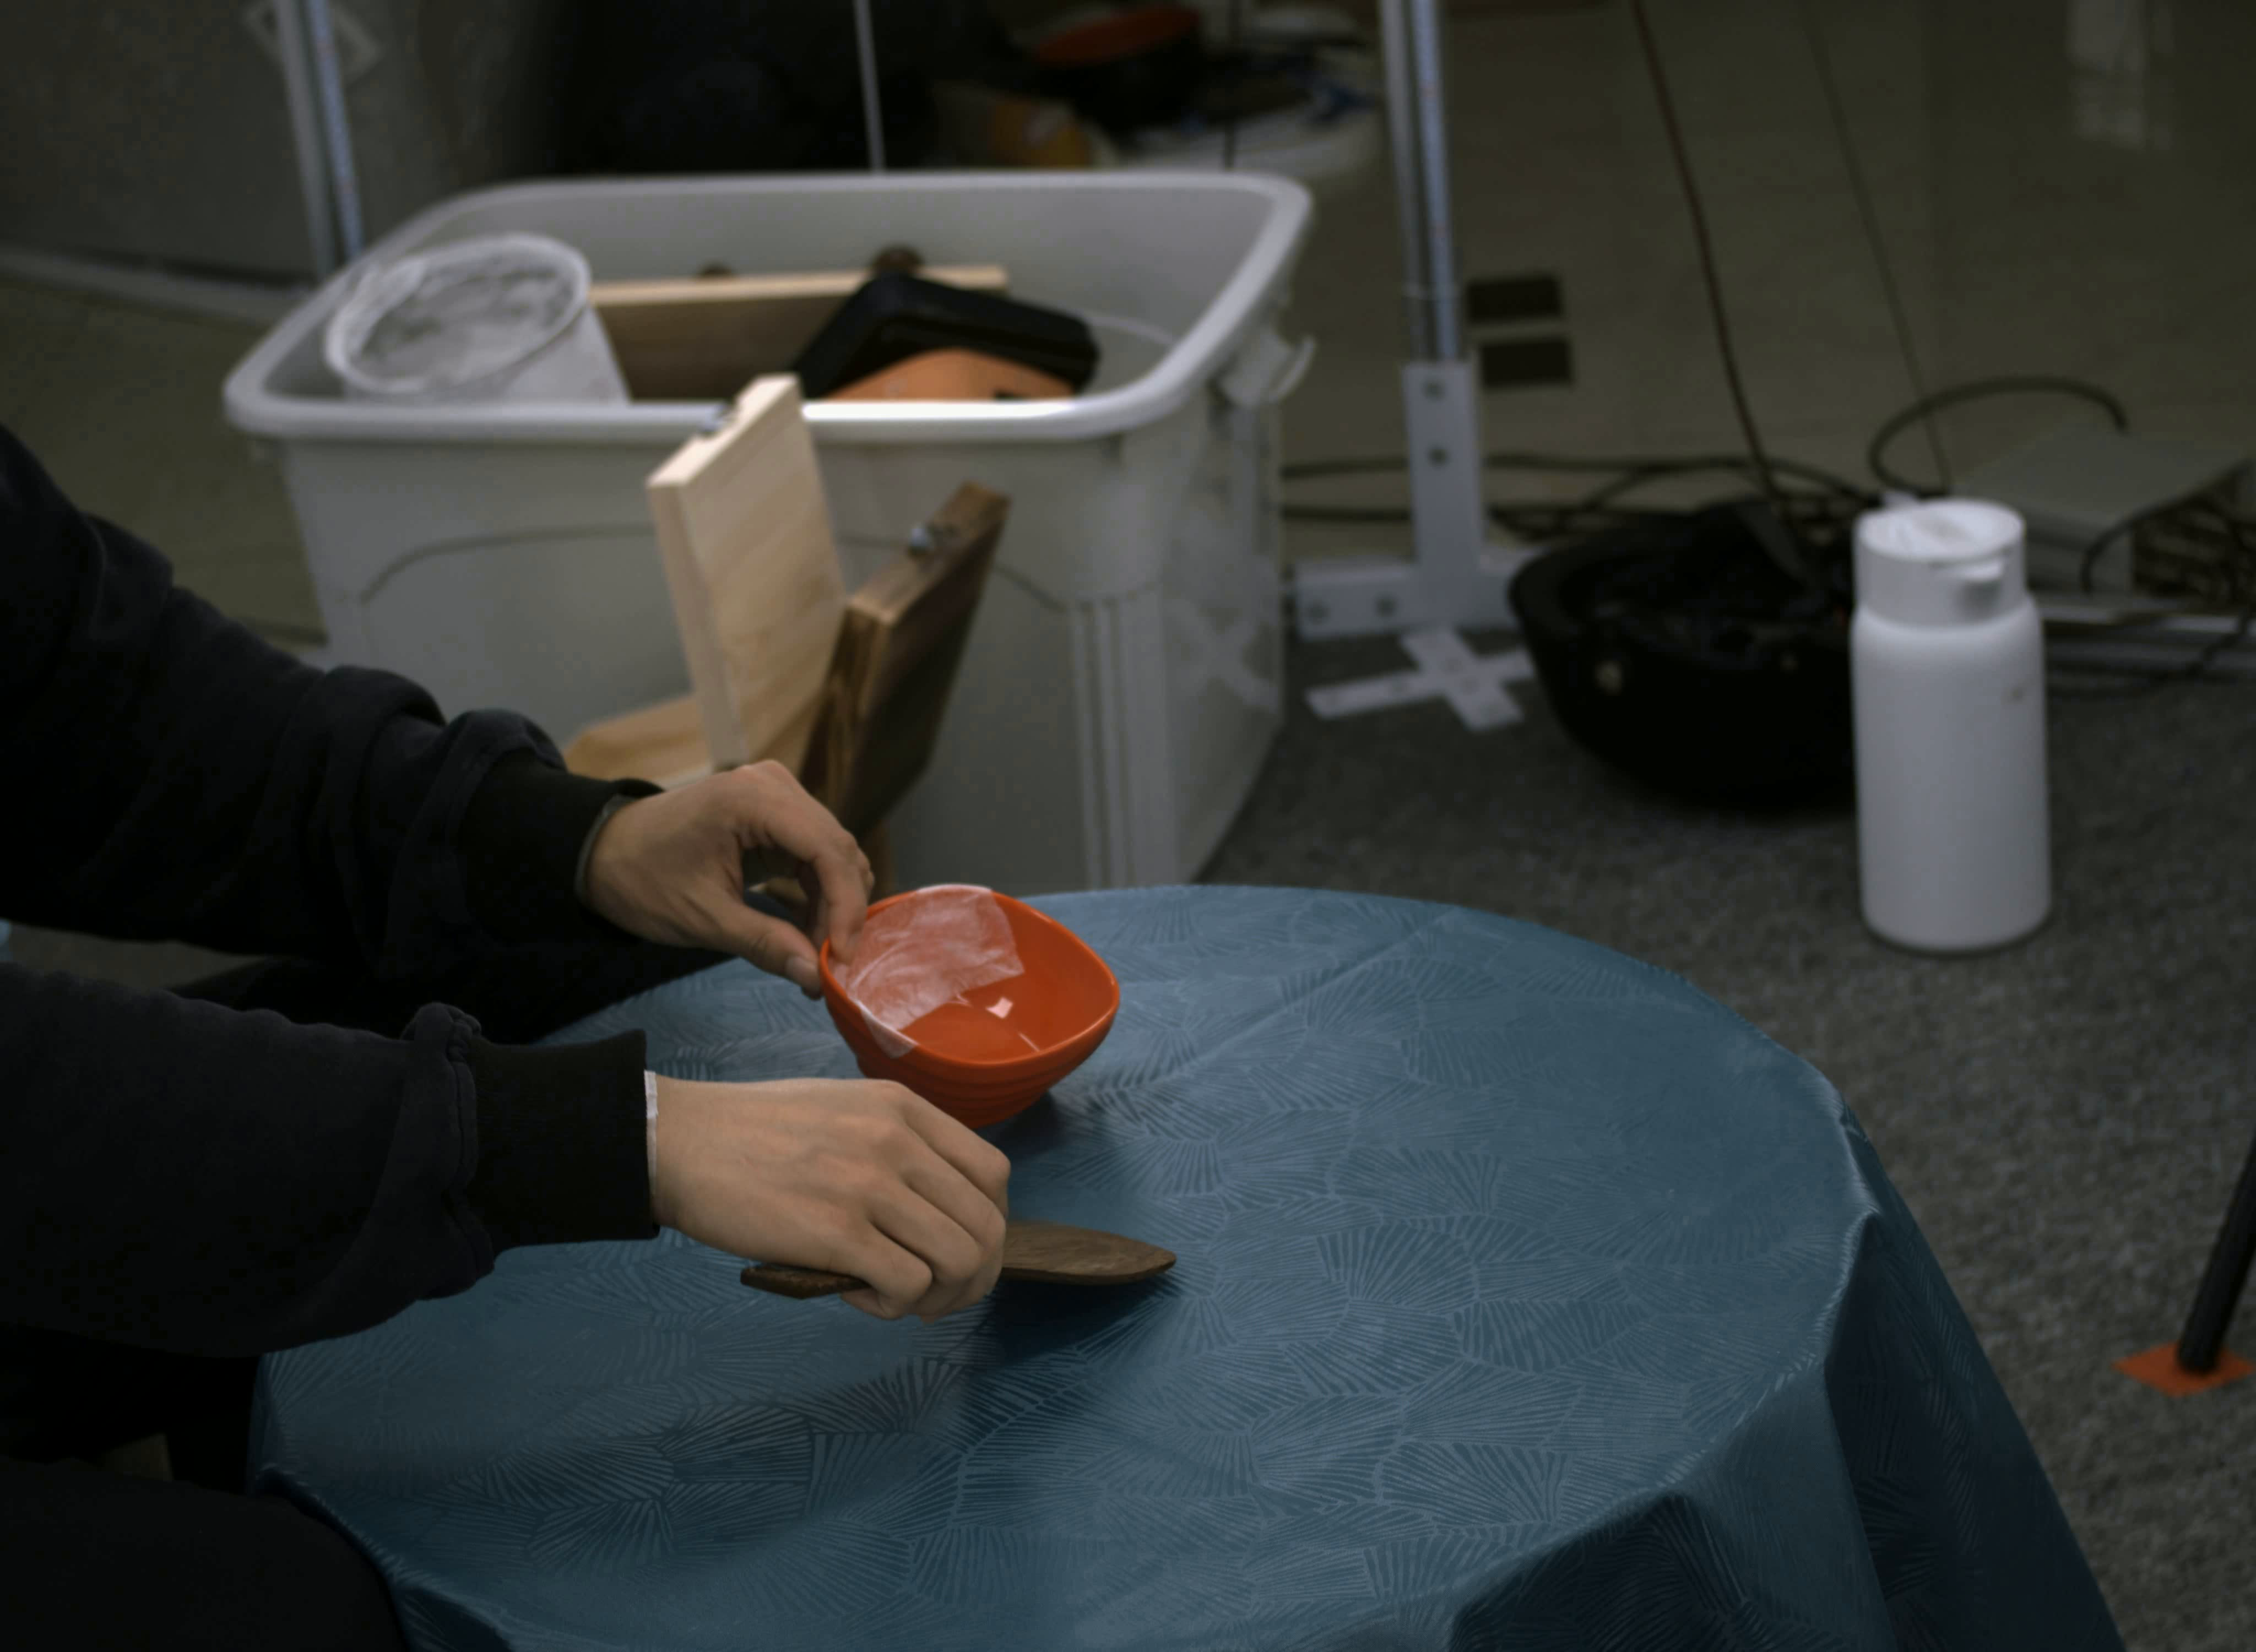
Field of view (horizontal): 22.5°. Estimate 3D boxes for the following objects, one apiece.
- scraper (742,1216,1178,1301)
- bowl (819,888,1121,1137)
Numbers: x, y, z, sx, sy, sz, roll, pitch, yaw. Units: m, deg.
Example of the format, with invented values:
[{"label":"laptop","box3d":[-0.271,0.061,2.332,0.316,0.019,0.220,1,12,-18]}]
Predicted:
[{"label":"scraper","box3d":[-0.066,0.157,2.028,0.075,0.011,0.211,13,8,33]},{"label":"bowl","box3d":[-0.065,0.079,2.218,0.119,0.052,0.117,9,35,-6]}]
